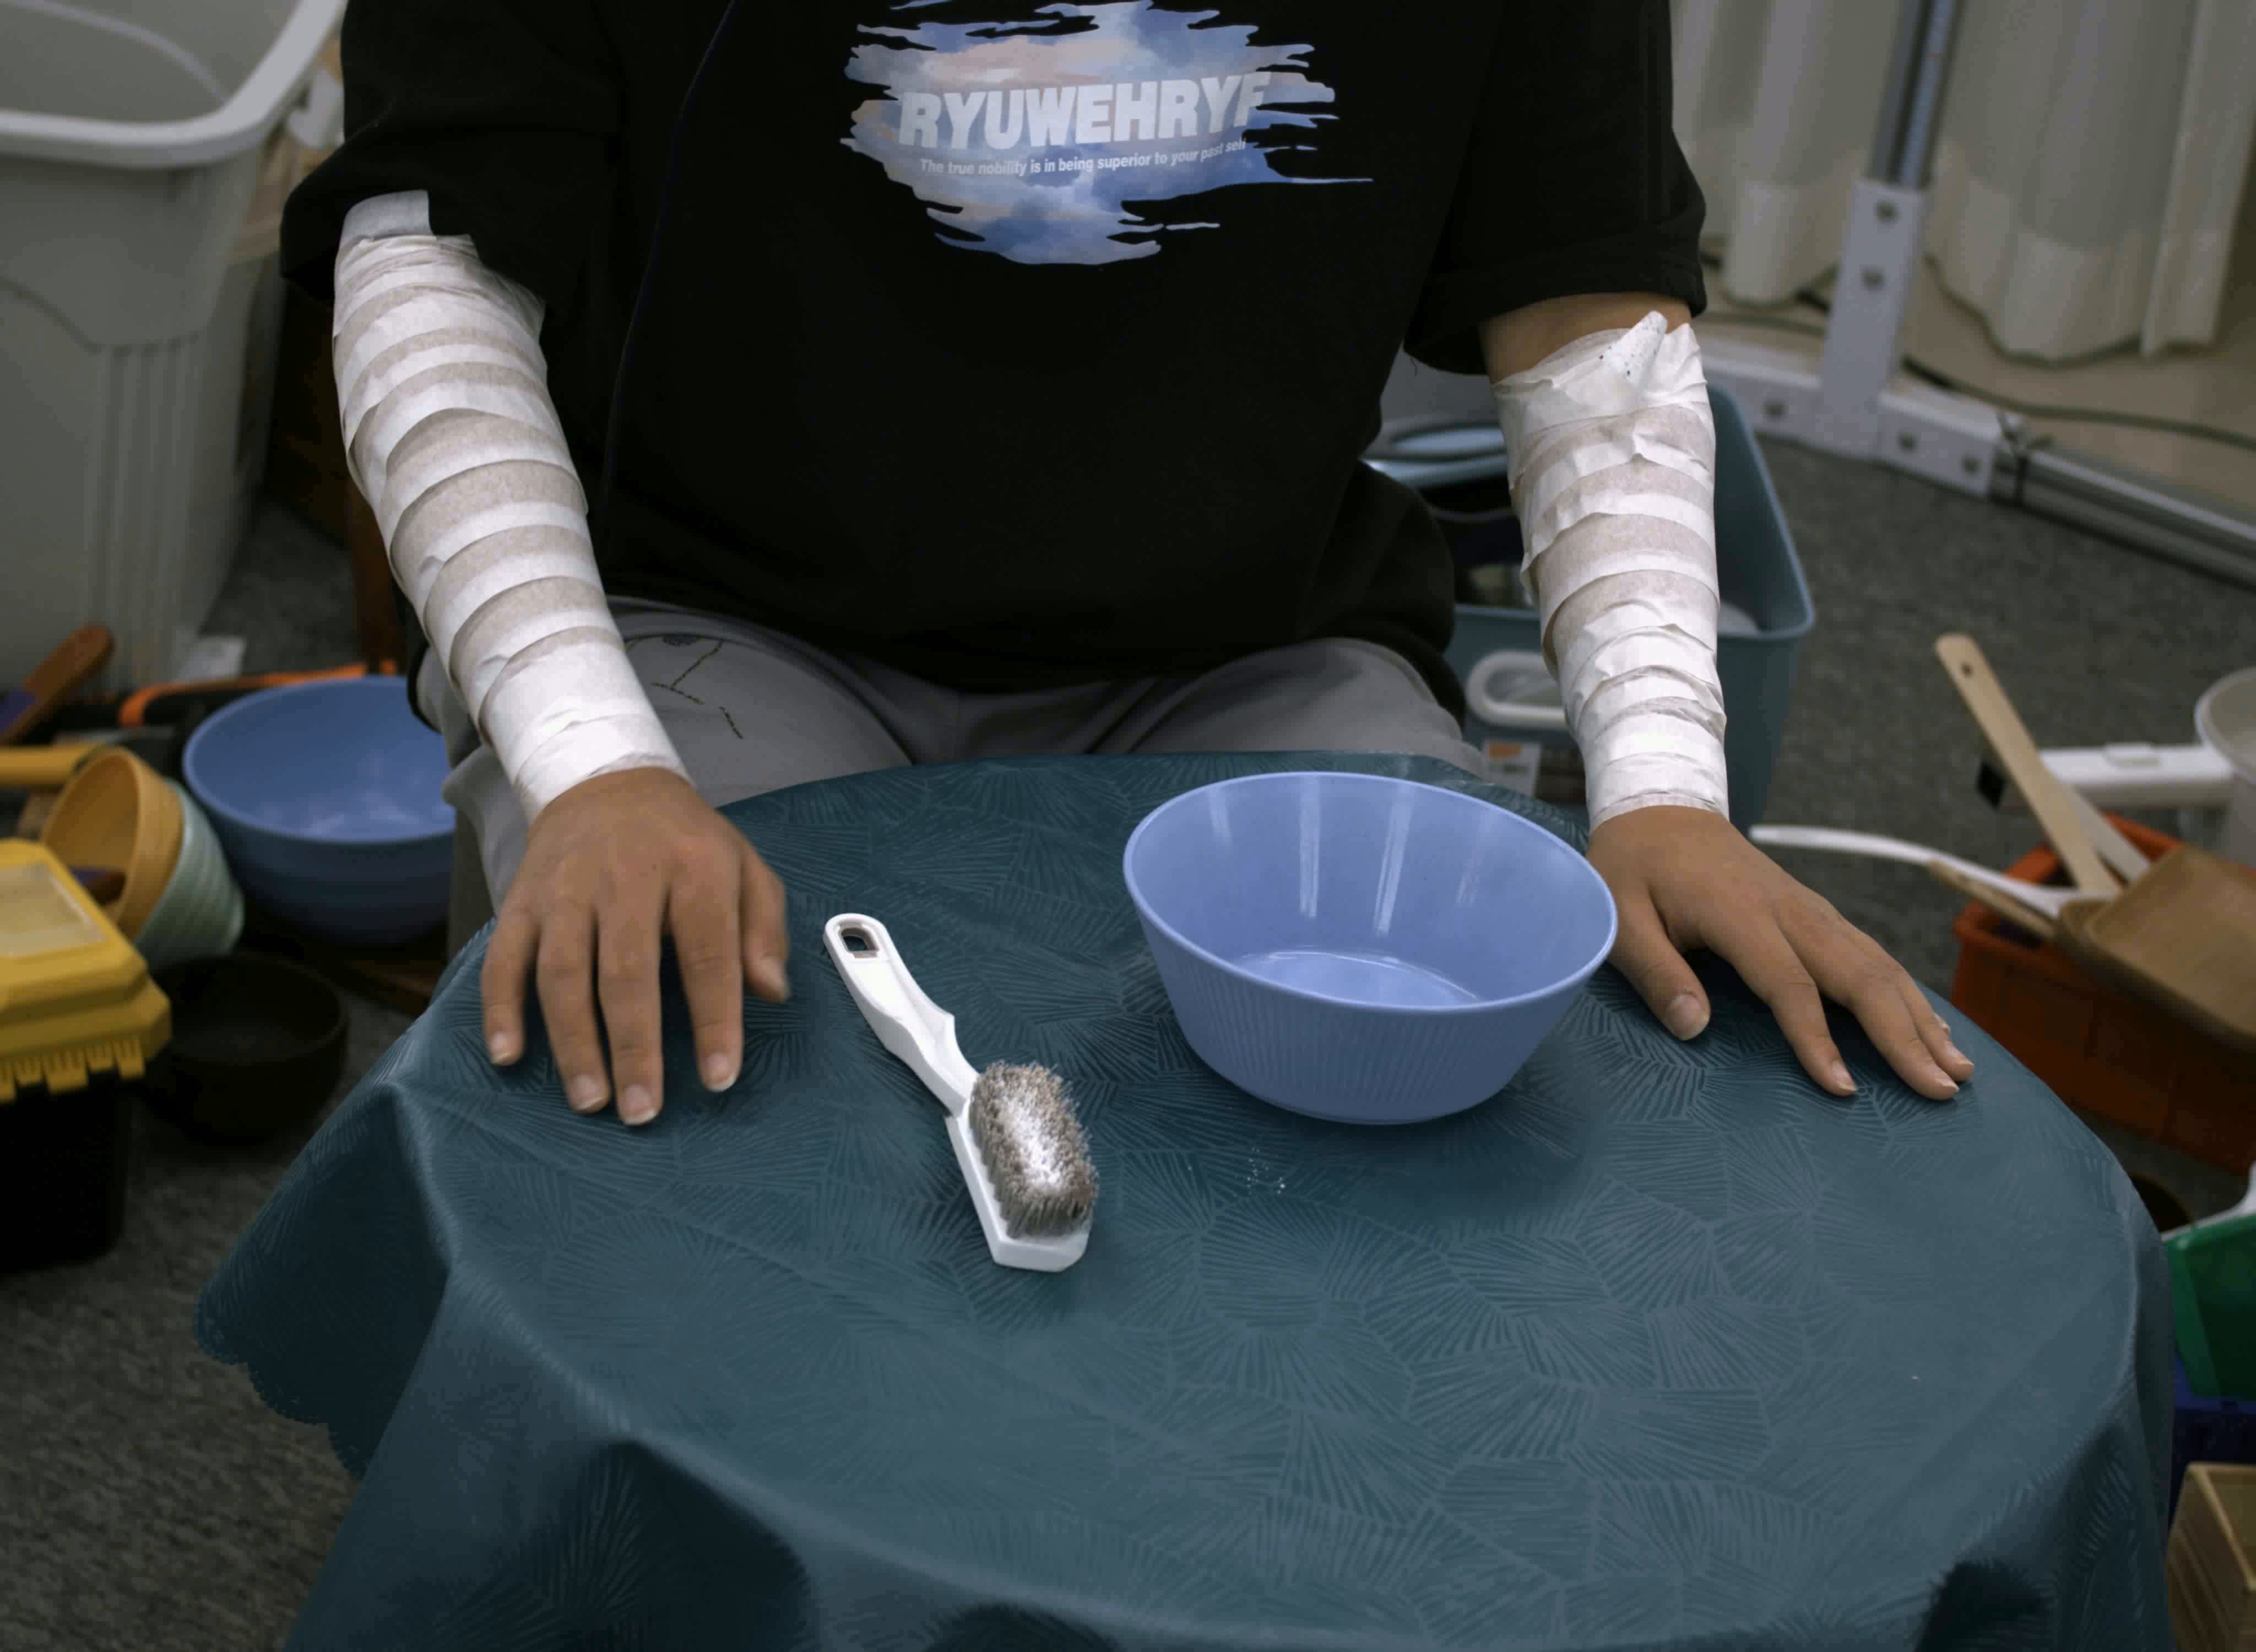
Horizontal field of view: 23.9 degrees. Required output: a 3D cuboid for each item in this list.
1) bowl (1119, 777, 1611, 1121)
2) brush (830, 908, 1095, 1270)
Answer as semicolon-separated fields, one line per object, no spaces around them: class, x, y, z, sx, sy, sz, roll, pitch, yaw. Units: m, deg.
bowl;0.080;0.049;1.892;0.175;0.070;0.177;6;26;-3
brush;-0.061;0.073;1.835;0.034;0.050;0.246;-1;28;-19
